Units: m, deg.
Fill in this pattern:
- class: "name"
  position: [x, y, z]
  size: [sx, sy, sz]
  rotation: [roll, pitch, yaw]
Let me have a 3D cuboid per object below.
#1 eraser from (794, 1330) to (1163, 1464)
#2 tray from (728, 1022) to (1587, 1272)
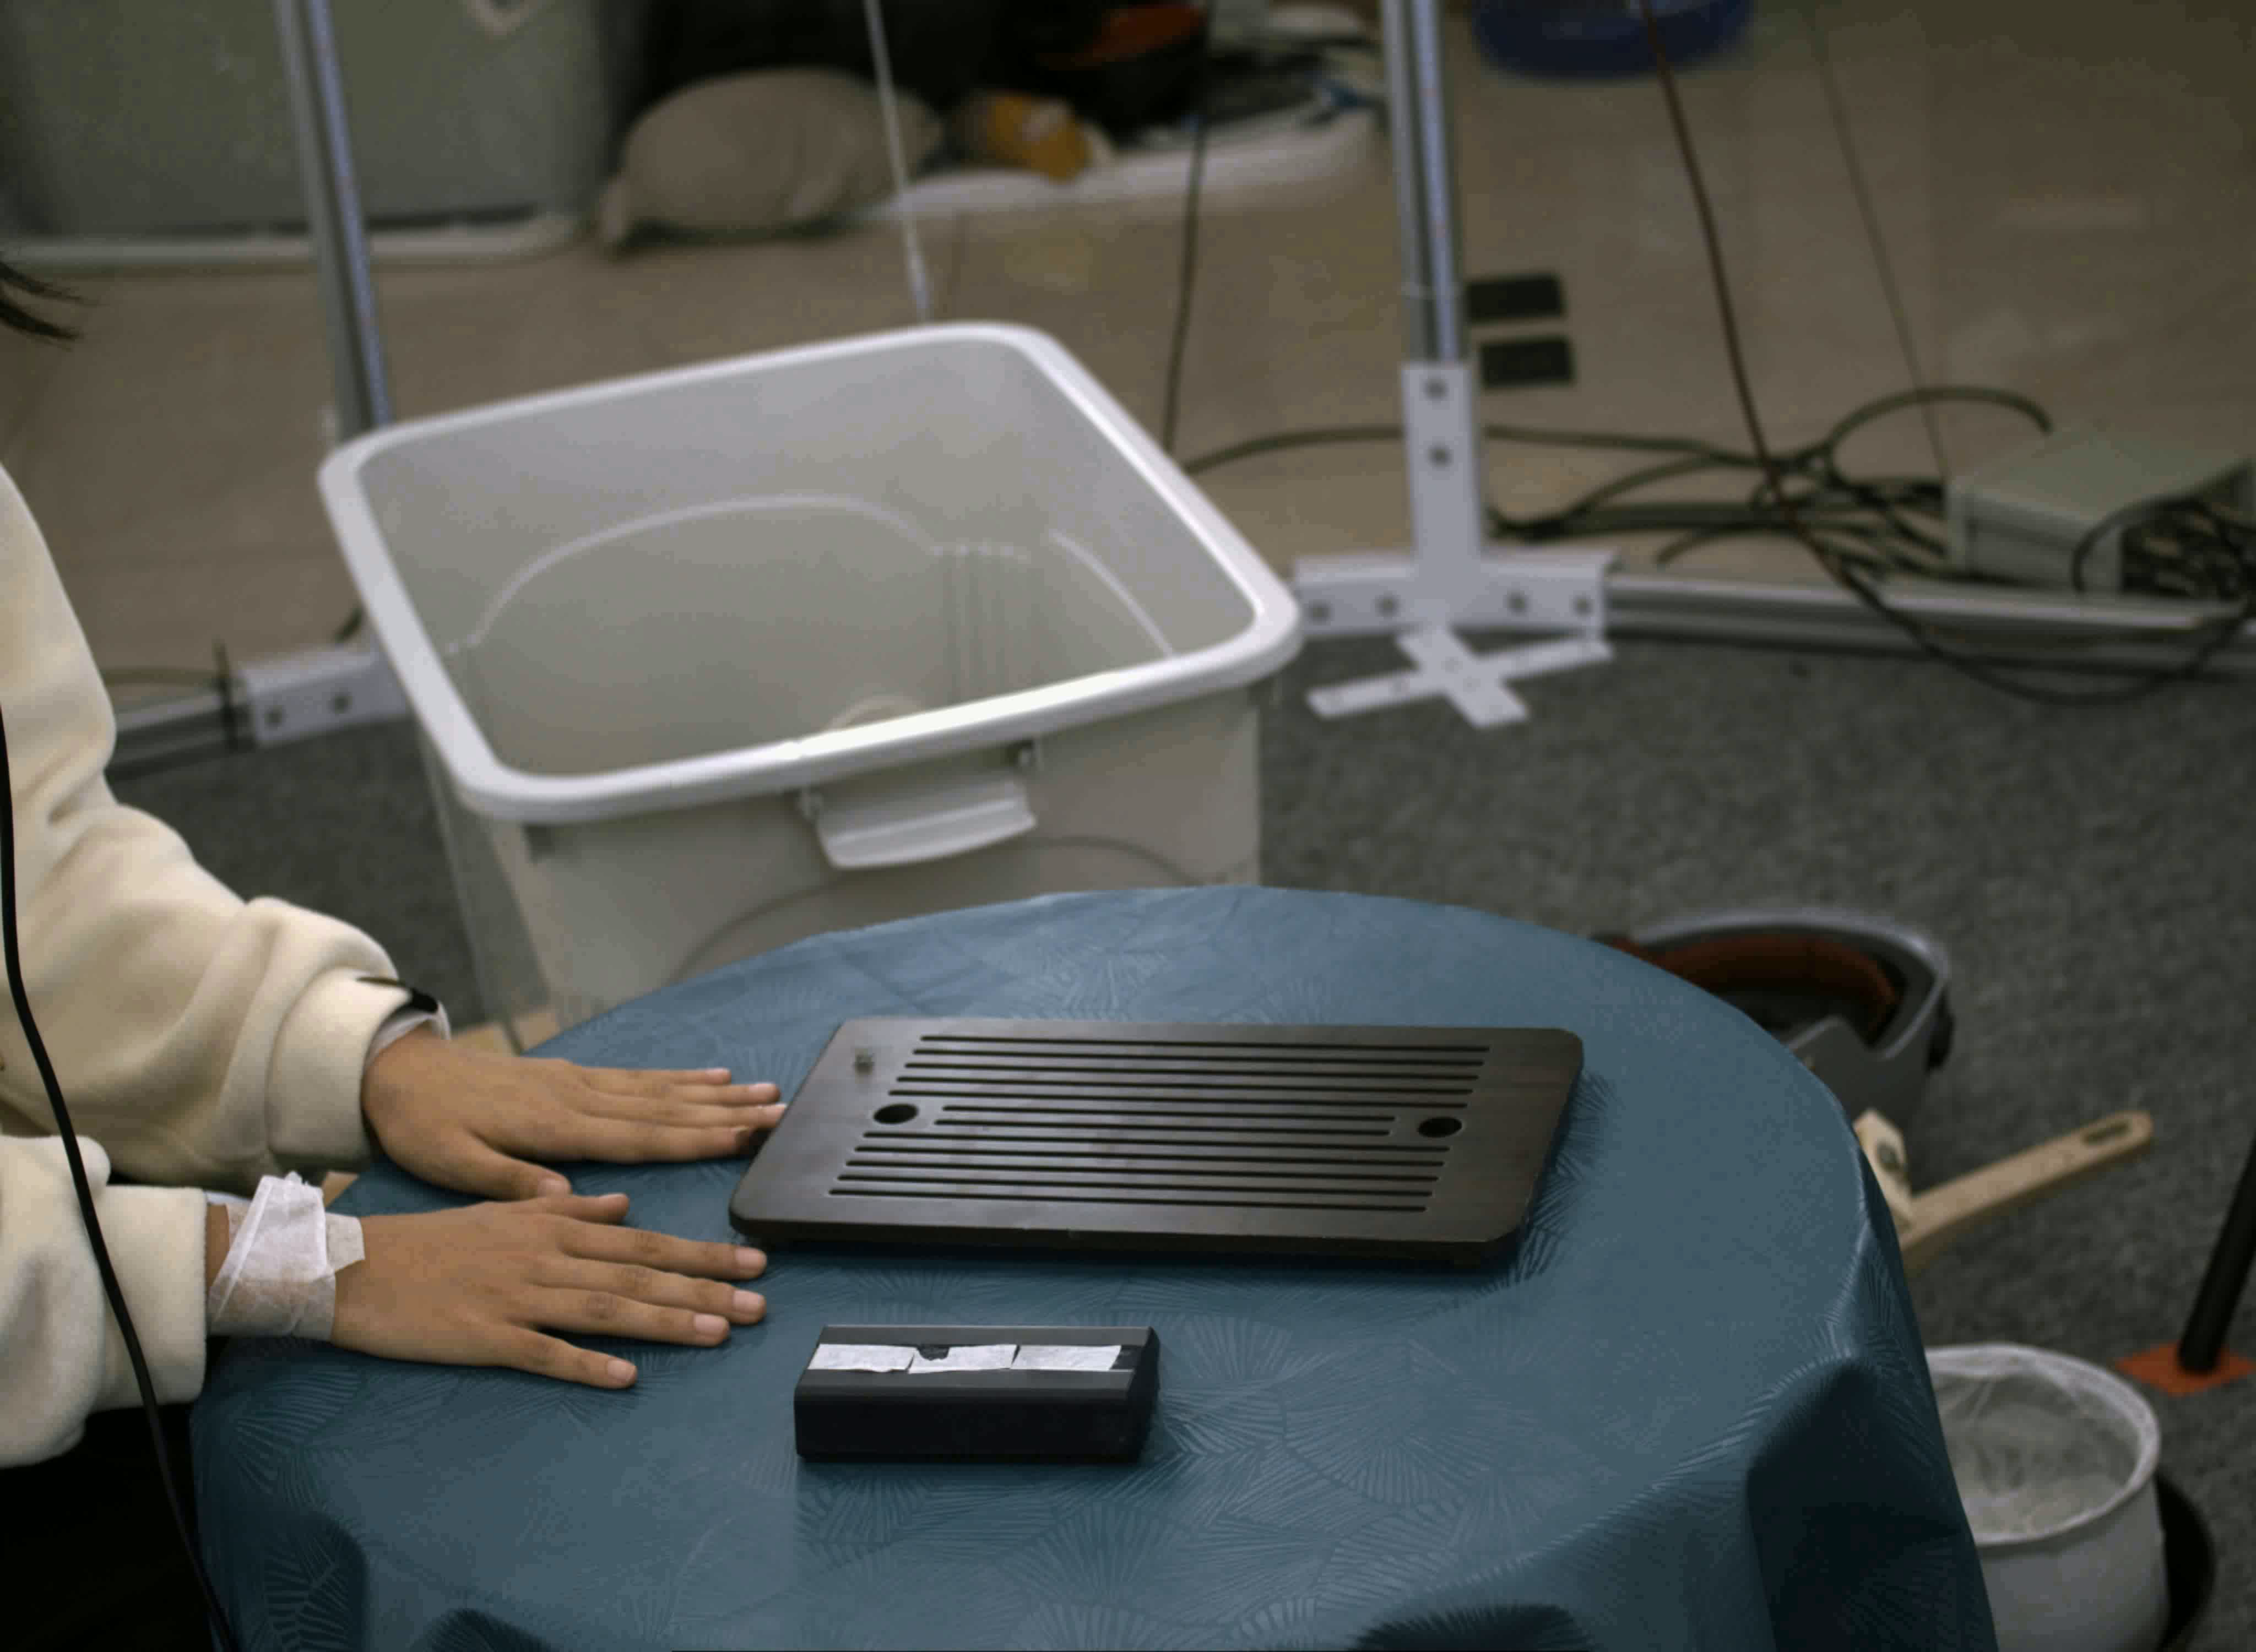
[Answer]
- class: "eraser"
  position: [-0.051, 0.201, 1.997]
  size: [0.125, 0.031, 0.053]
  rotation: [-2, 23, 13]
- class: "tray"
  position: [0.013, 0.122, 2.161]
  size: [0.305, 0.019, 0.168]
  rotation: [1, 26, 15]
